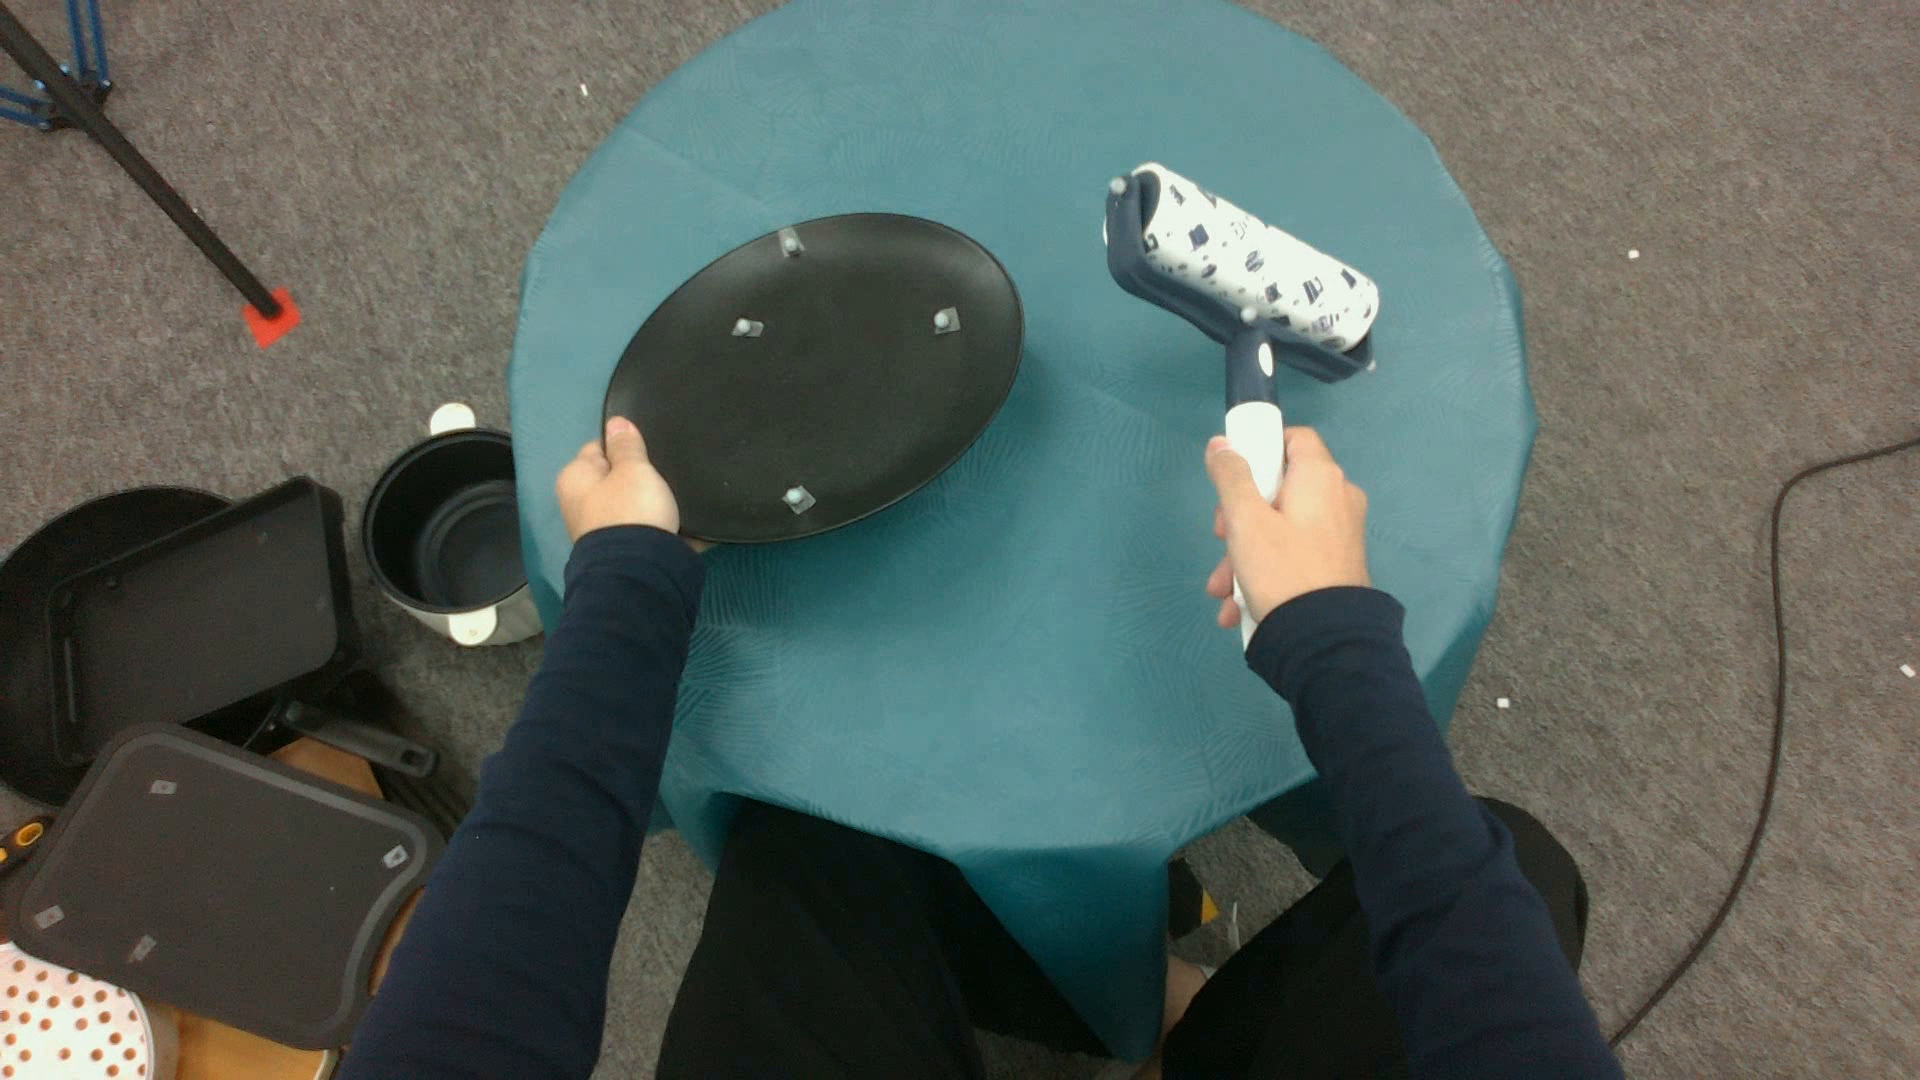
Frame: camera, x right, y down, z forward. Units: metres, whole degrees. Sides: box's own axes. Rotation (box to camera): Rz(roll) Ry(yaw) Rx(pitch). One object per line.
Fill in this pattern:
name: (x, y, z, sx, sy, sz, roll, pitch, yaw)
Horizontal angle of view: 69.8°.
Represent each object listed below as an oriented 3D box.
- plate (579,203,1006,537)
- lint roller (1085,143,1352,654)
plate: (-0.091, -0.096, 0.753, 0.244, 0.023, 0.245, -9, 51, 11)
lint roller: (0.140, -0.064, 0.689, 0.176, 0.050, 0.248, 16, 62, -35)
